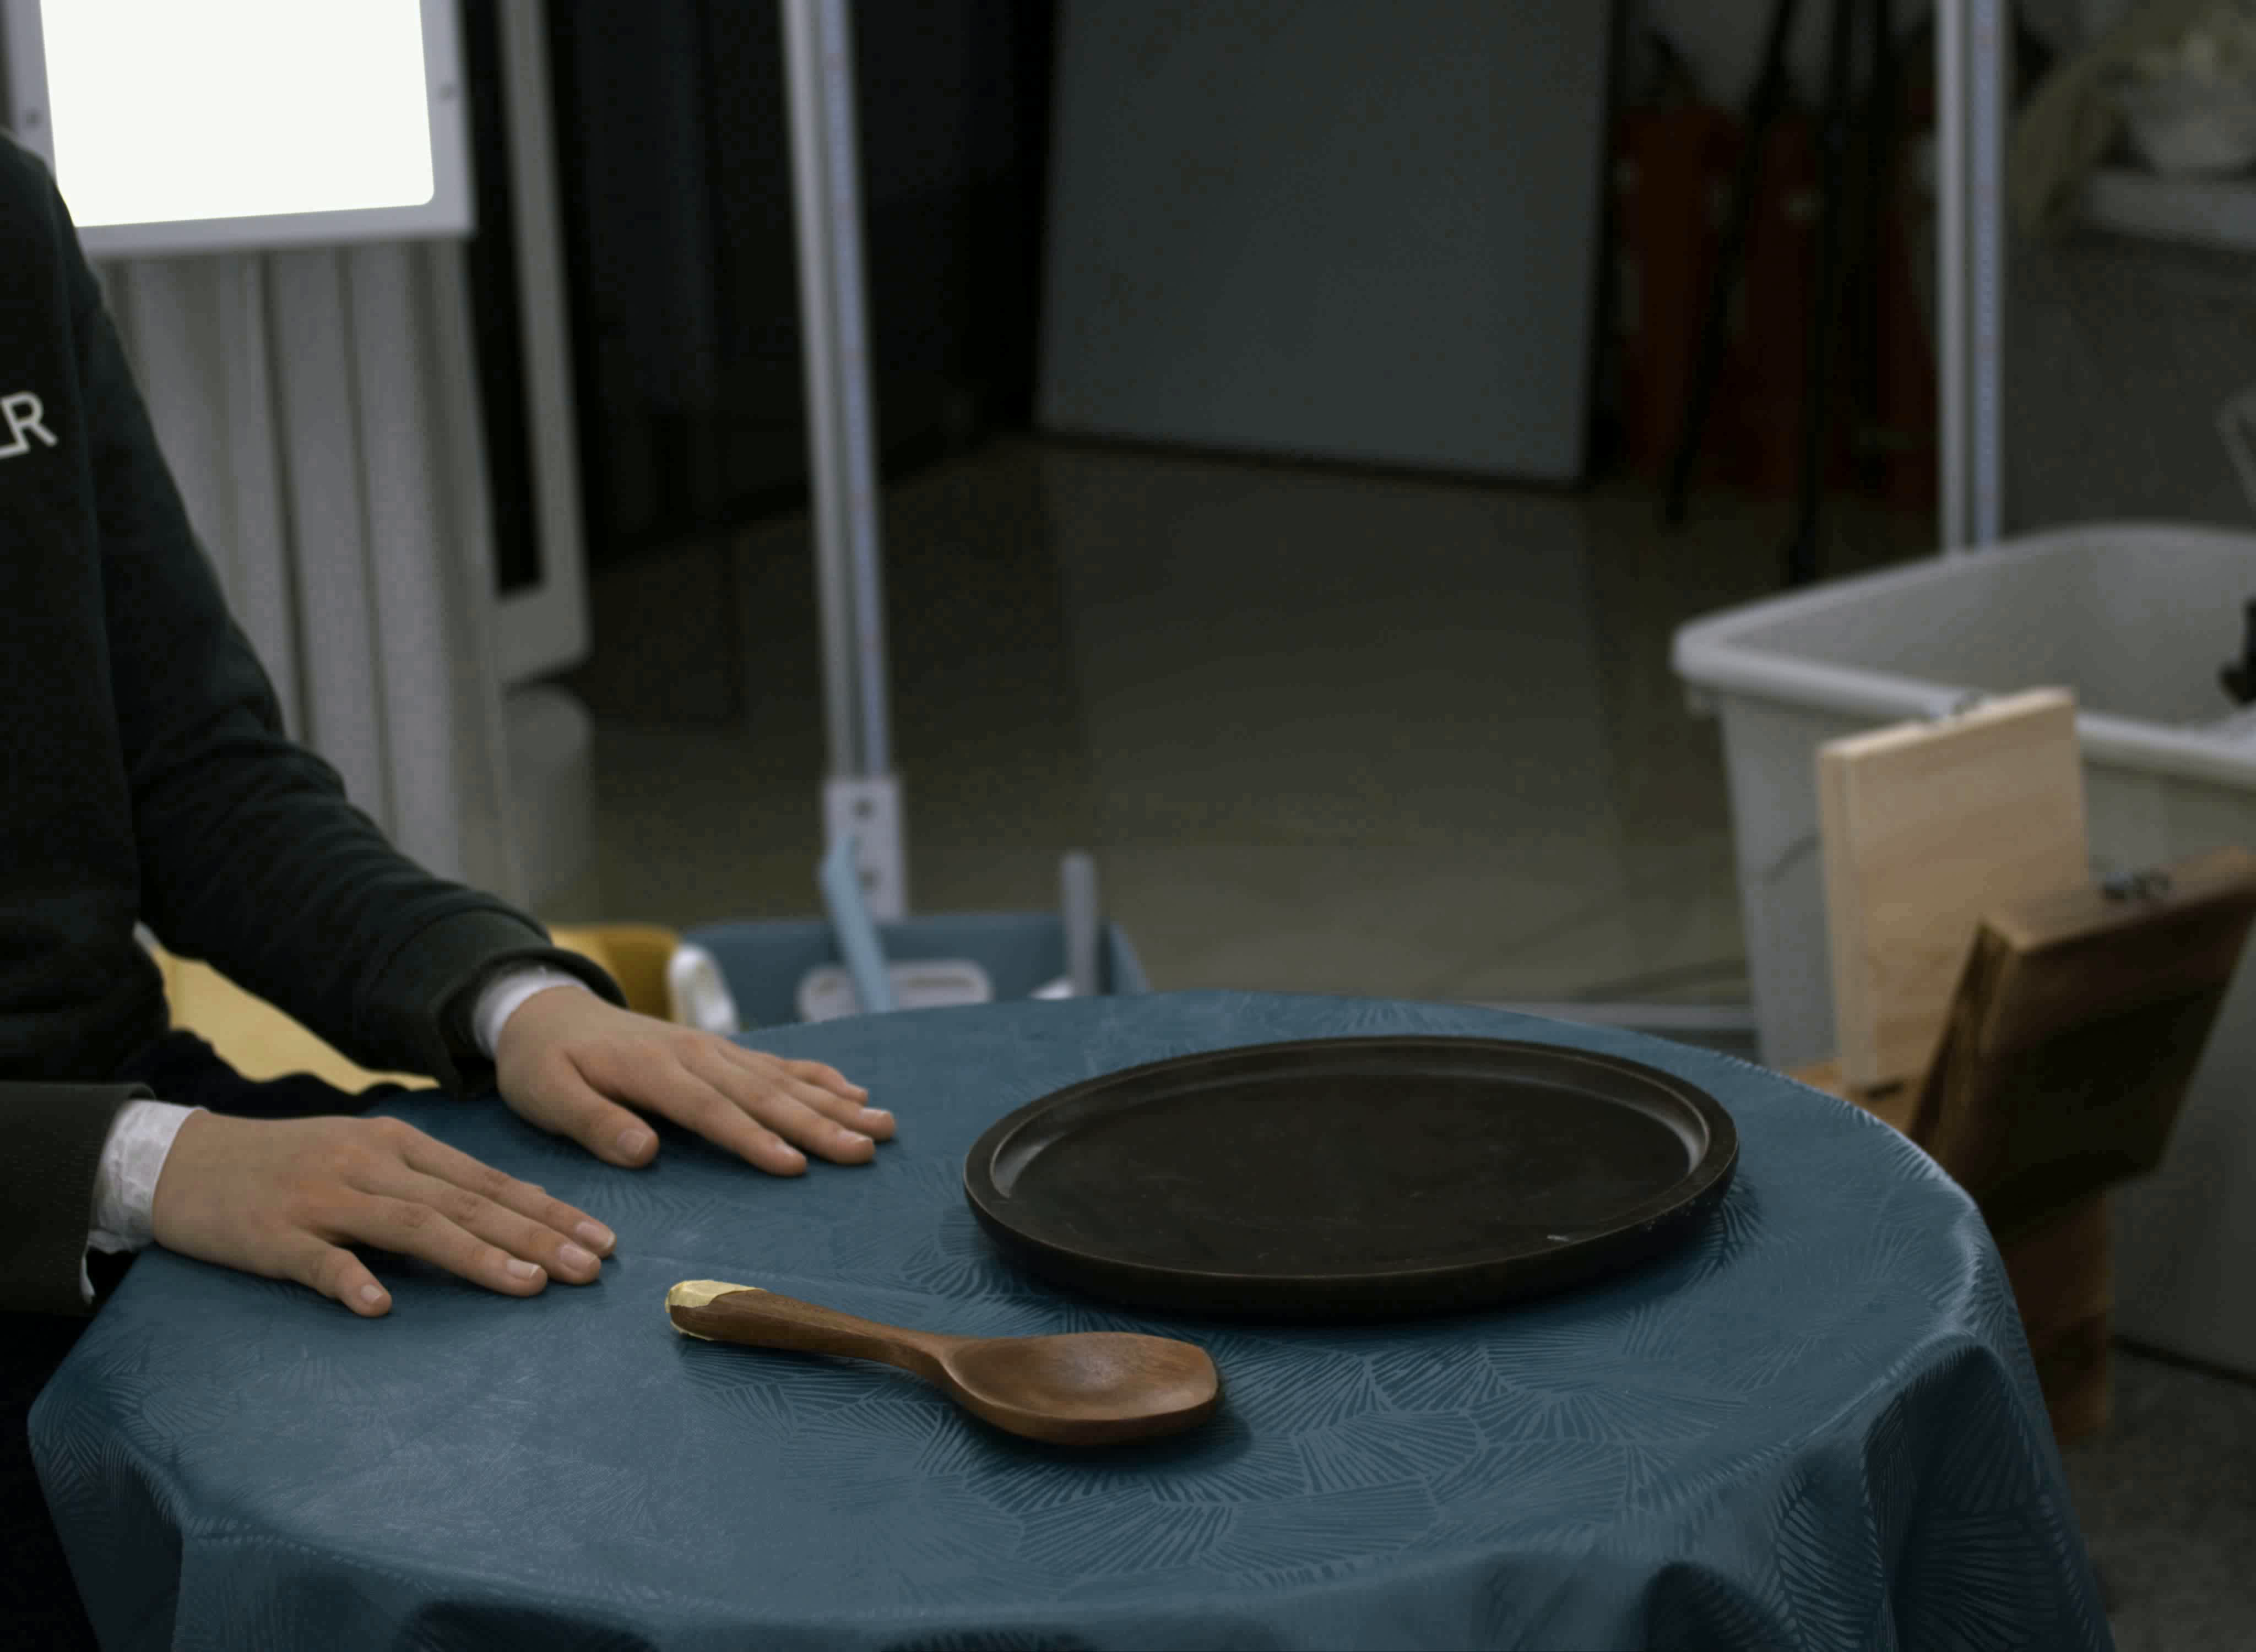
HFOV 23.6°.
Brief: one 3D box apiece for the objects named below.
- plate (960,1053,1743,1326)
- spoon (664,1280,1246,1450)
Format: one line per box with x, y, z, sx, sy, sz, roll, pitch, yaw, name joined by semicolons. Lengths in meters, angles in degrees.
0.073;0.114;1.734;0.251;0.029;0.255;-3;14;0;plate
-0.056;0.159;1.600;0.217;0.017;0.074;8;18;40;spoon
